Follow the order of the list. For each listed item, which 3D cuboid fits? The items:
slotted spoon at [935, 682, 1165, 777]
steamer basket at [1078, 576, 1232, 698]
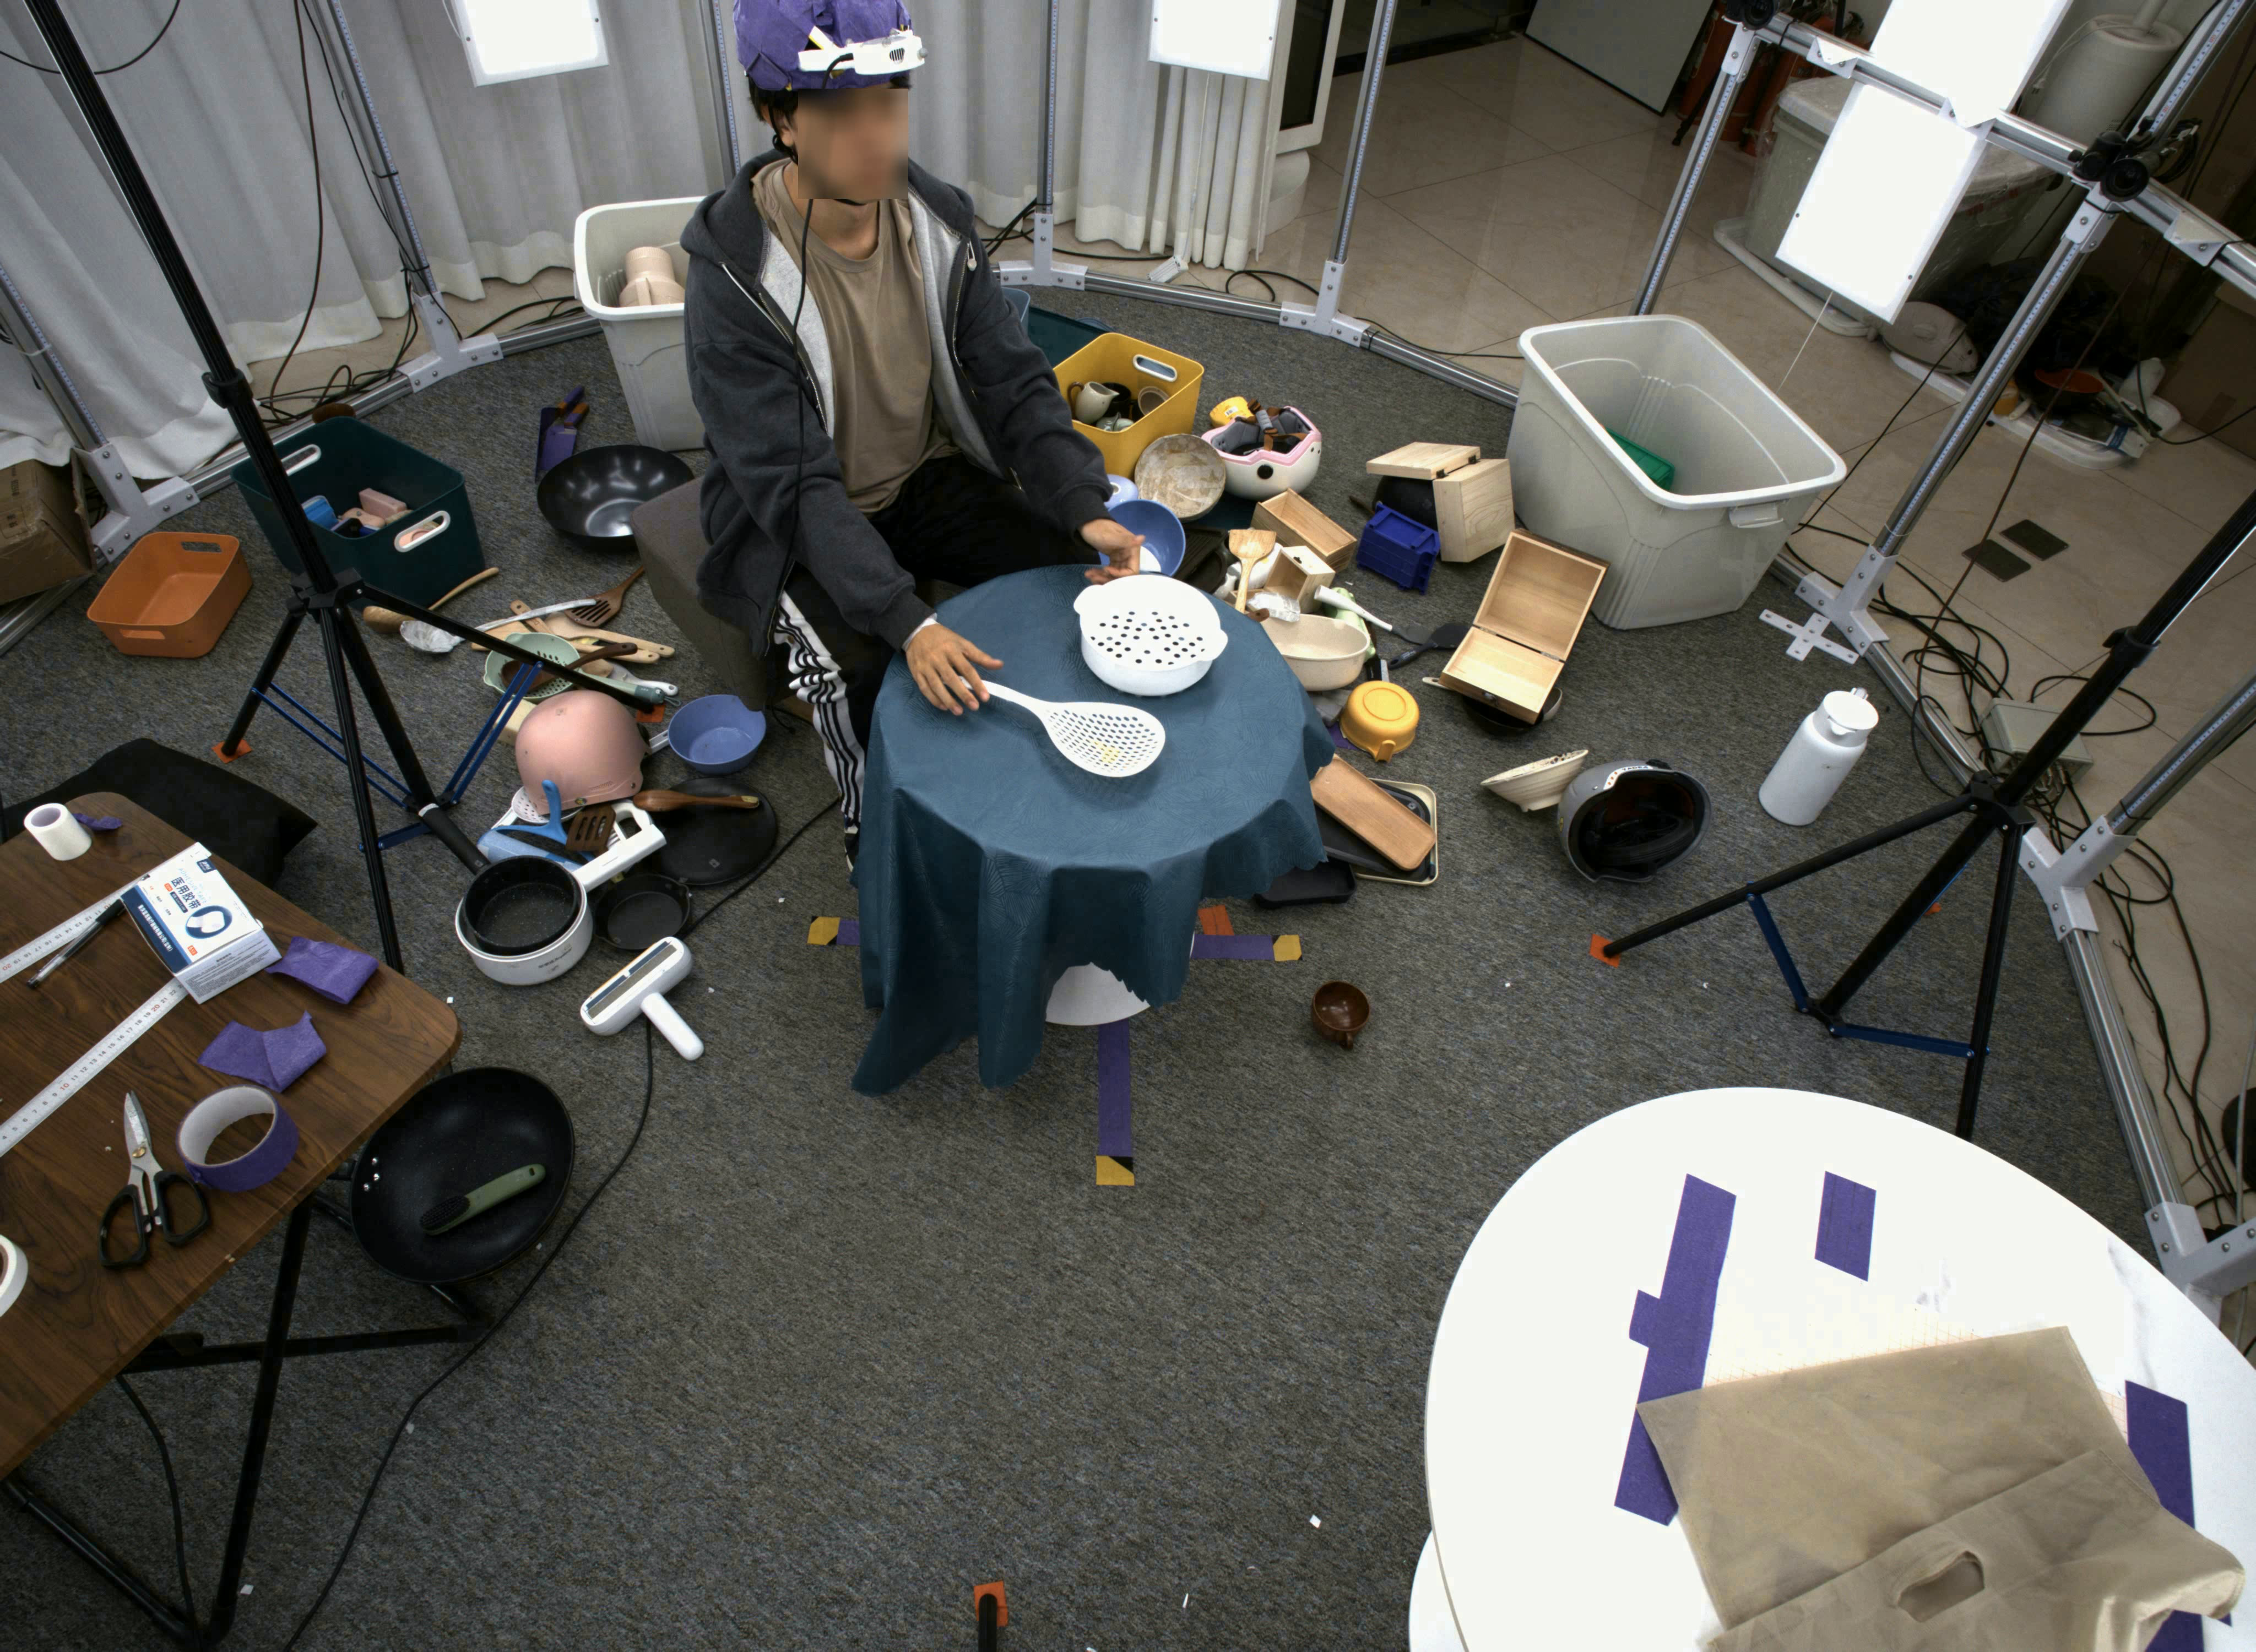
[{"bbox_3d":[-0.115,-0.151,1.764,0.350,0.049,0.139,24,55,17],"label":"slotted spoon"},{"bbox_3d":[0.035,-0.273,1.863,0.232,0.067,0.205,24,51,13],"label":"steamer basket"}]
